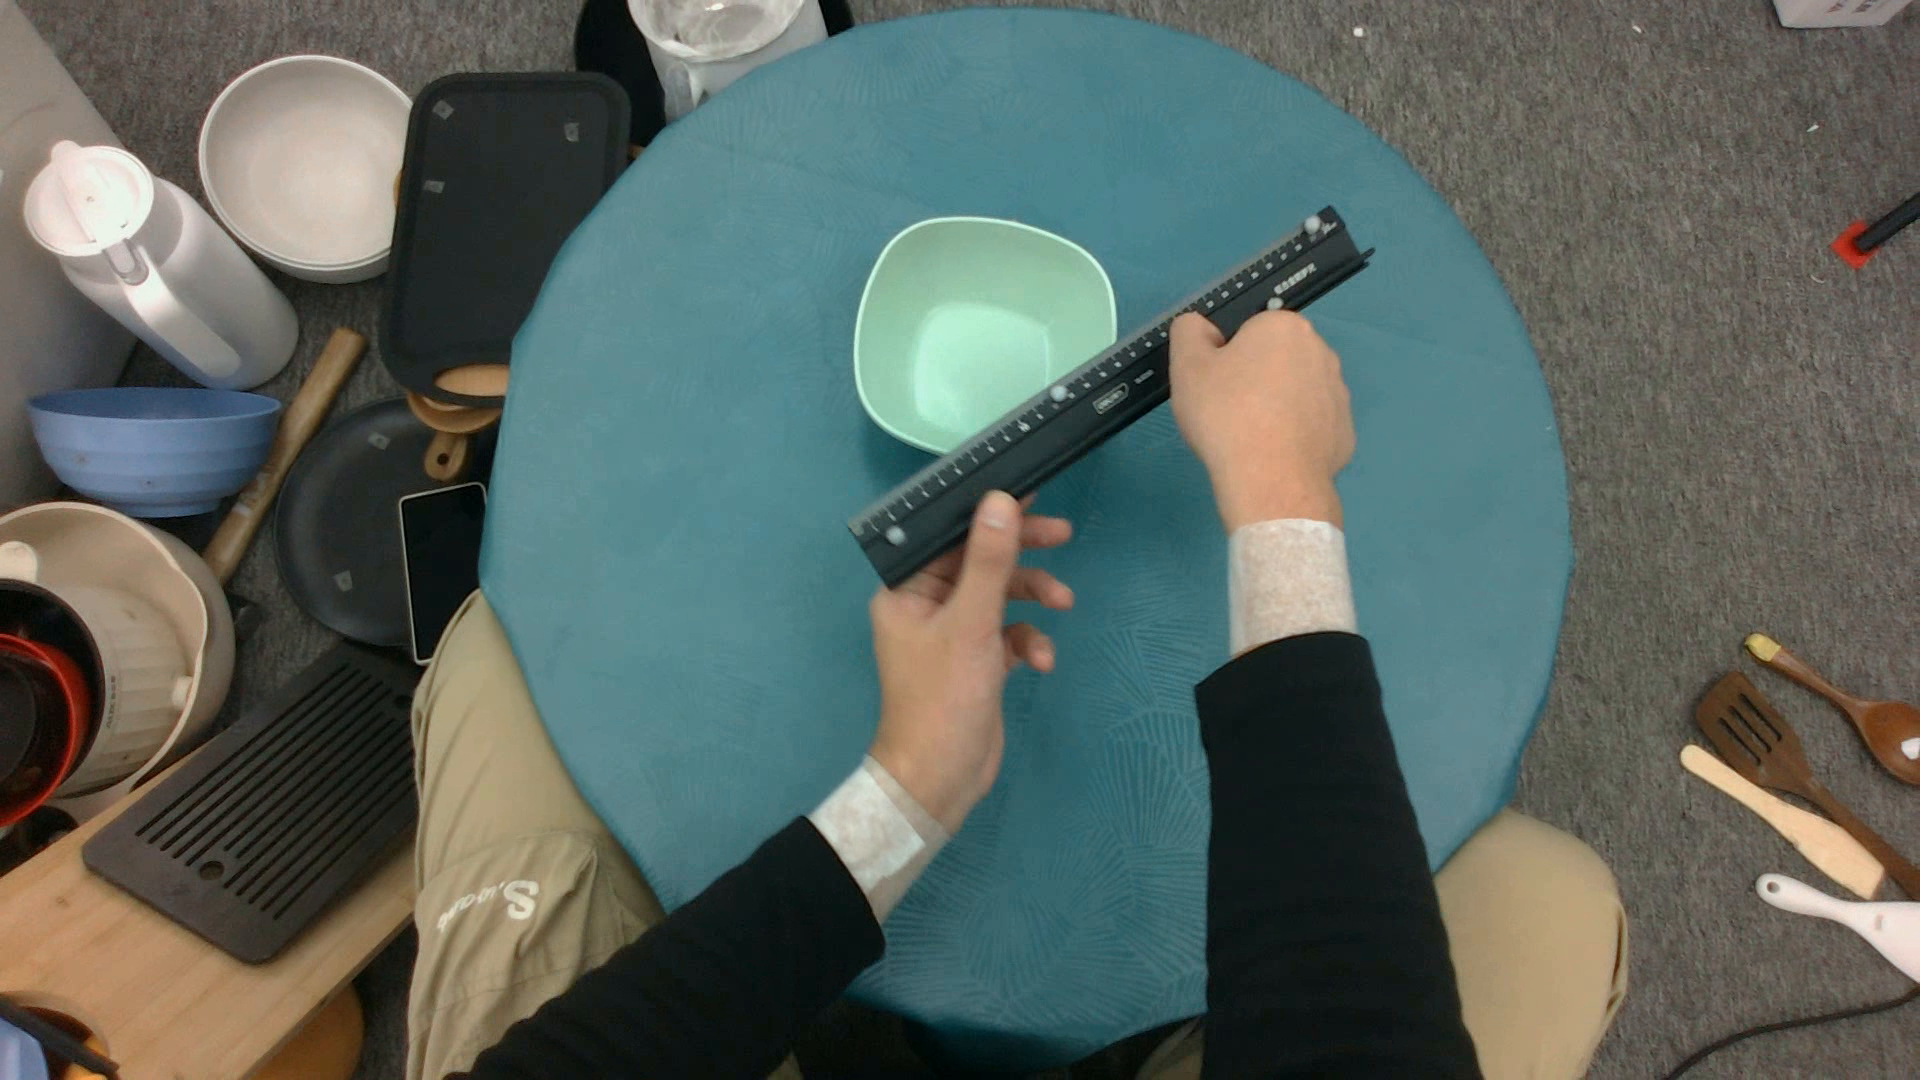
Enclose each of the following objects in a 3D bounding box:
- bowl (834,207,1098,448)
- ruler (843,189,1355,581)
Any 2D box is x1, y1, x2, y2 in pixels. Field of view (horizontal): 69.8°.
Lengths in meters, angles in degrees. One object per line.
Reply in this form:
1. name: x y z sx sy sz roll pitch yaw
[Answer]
1. bowl: 0.002 -0.106 0.752 0.151 0.058 0.152 2 72 -5
2. ruler: 0.077 -0.084 0.678 0.313 0.017 0.039 -36 97 -16
